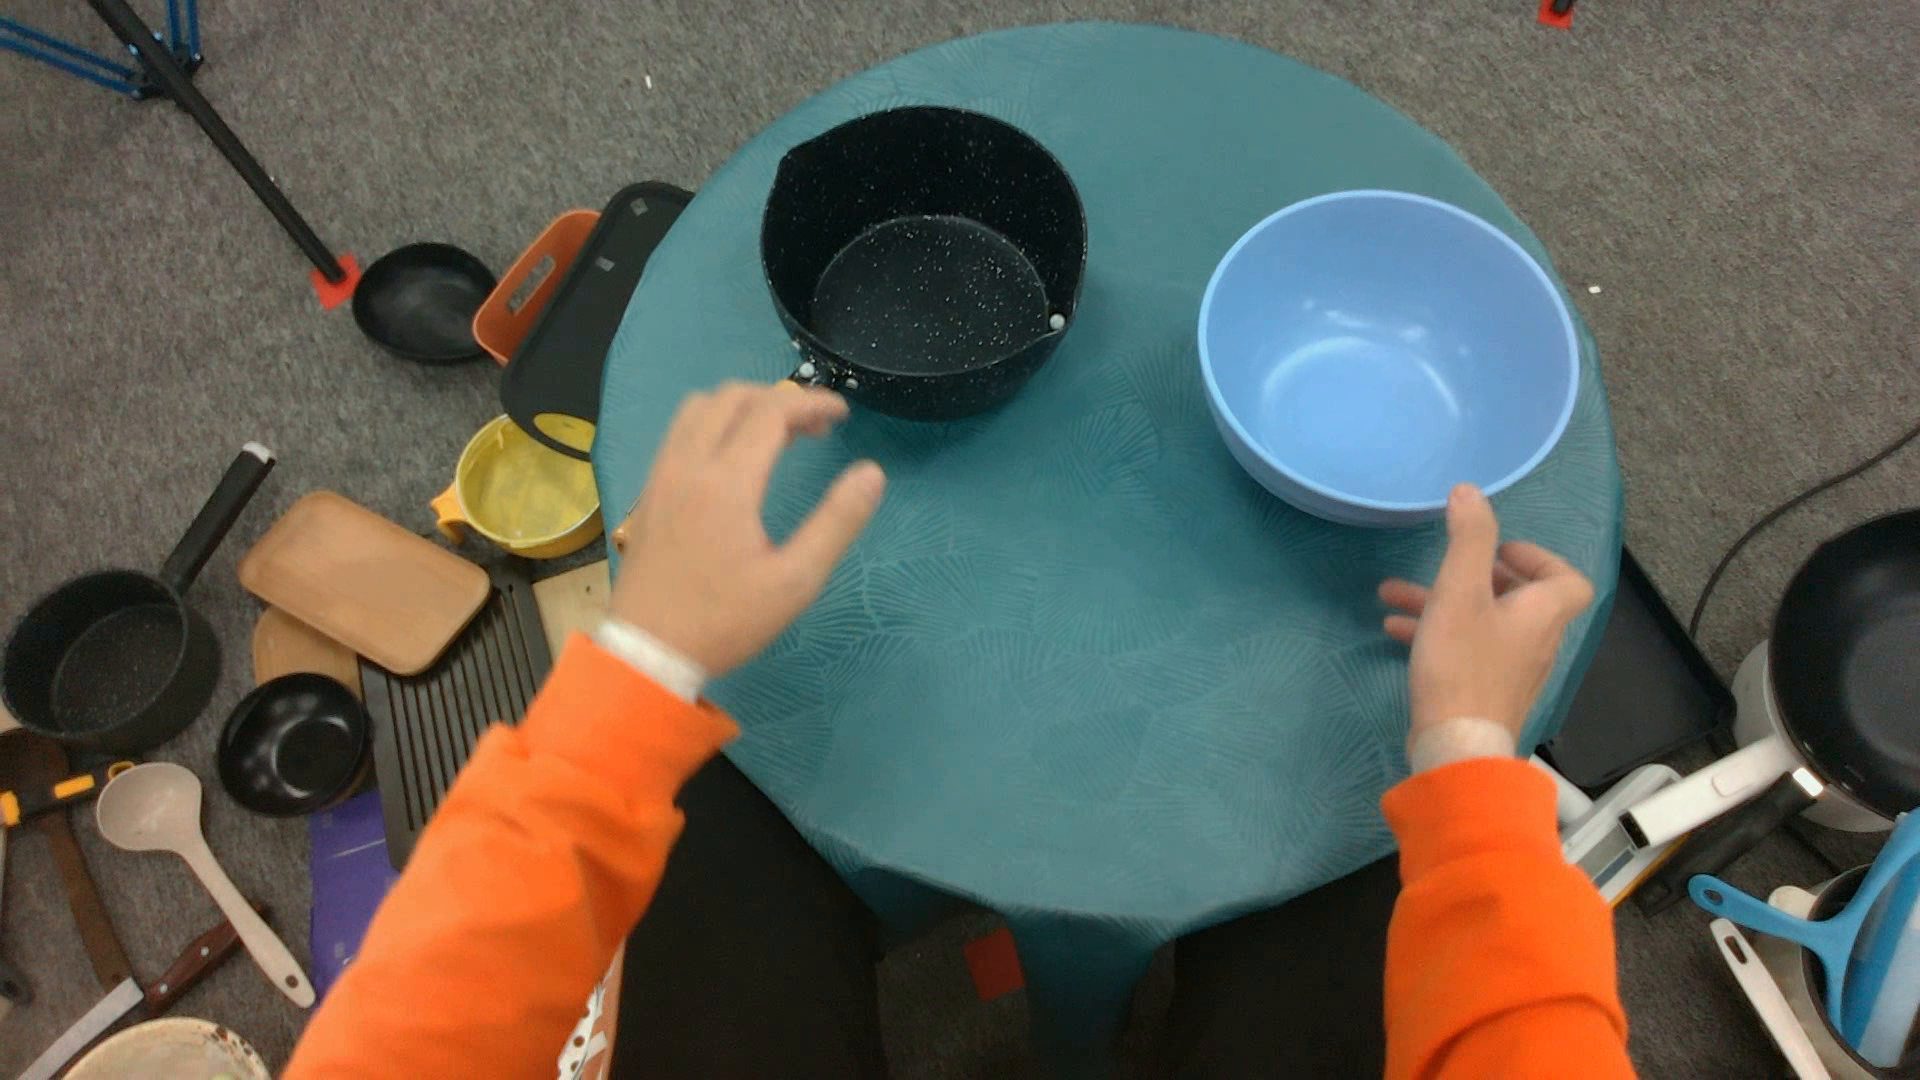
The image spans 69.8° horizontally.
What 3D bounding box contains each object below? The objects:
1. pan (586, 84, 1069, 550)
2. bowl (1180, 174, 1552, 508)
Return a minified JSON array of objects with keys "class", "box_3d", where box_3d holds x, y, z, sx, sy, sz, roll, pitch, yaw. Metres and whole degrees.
[{"class":"pan","box_3d":[-0.076,-0.109,0.769,0.207,0.108,0.344,32,69,12]},{"class":"bowl","box_3d":[0.214,-0.096,0.769,0.196,0.095,0.197,0,65,-1]}]
